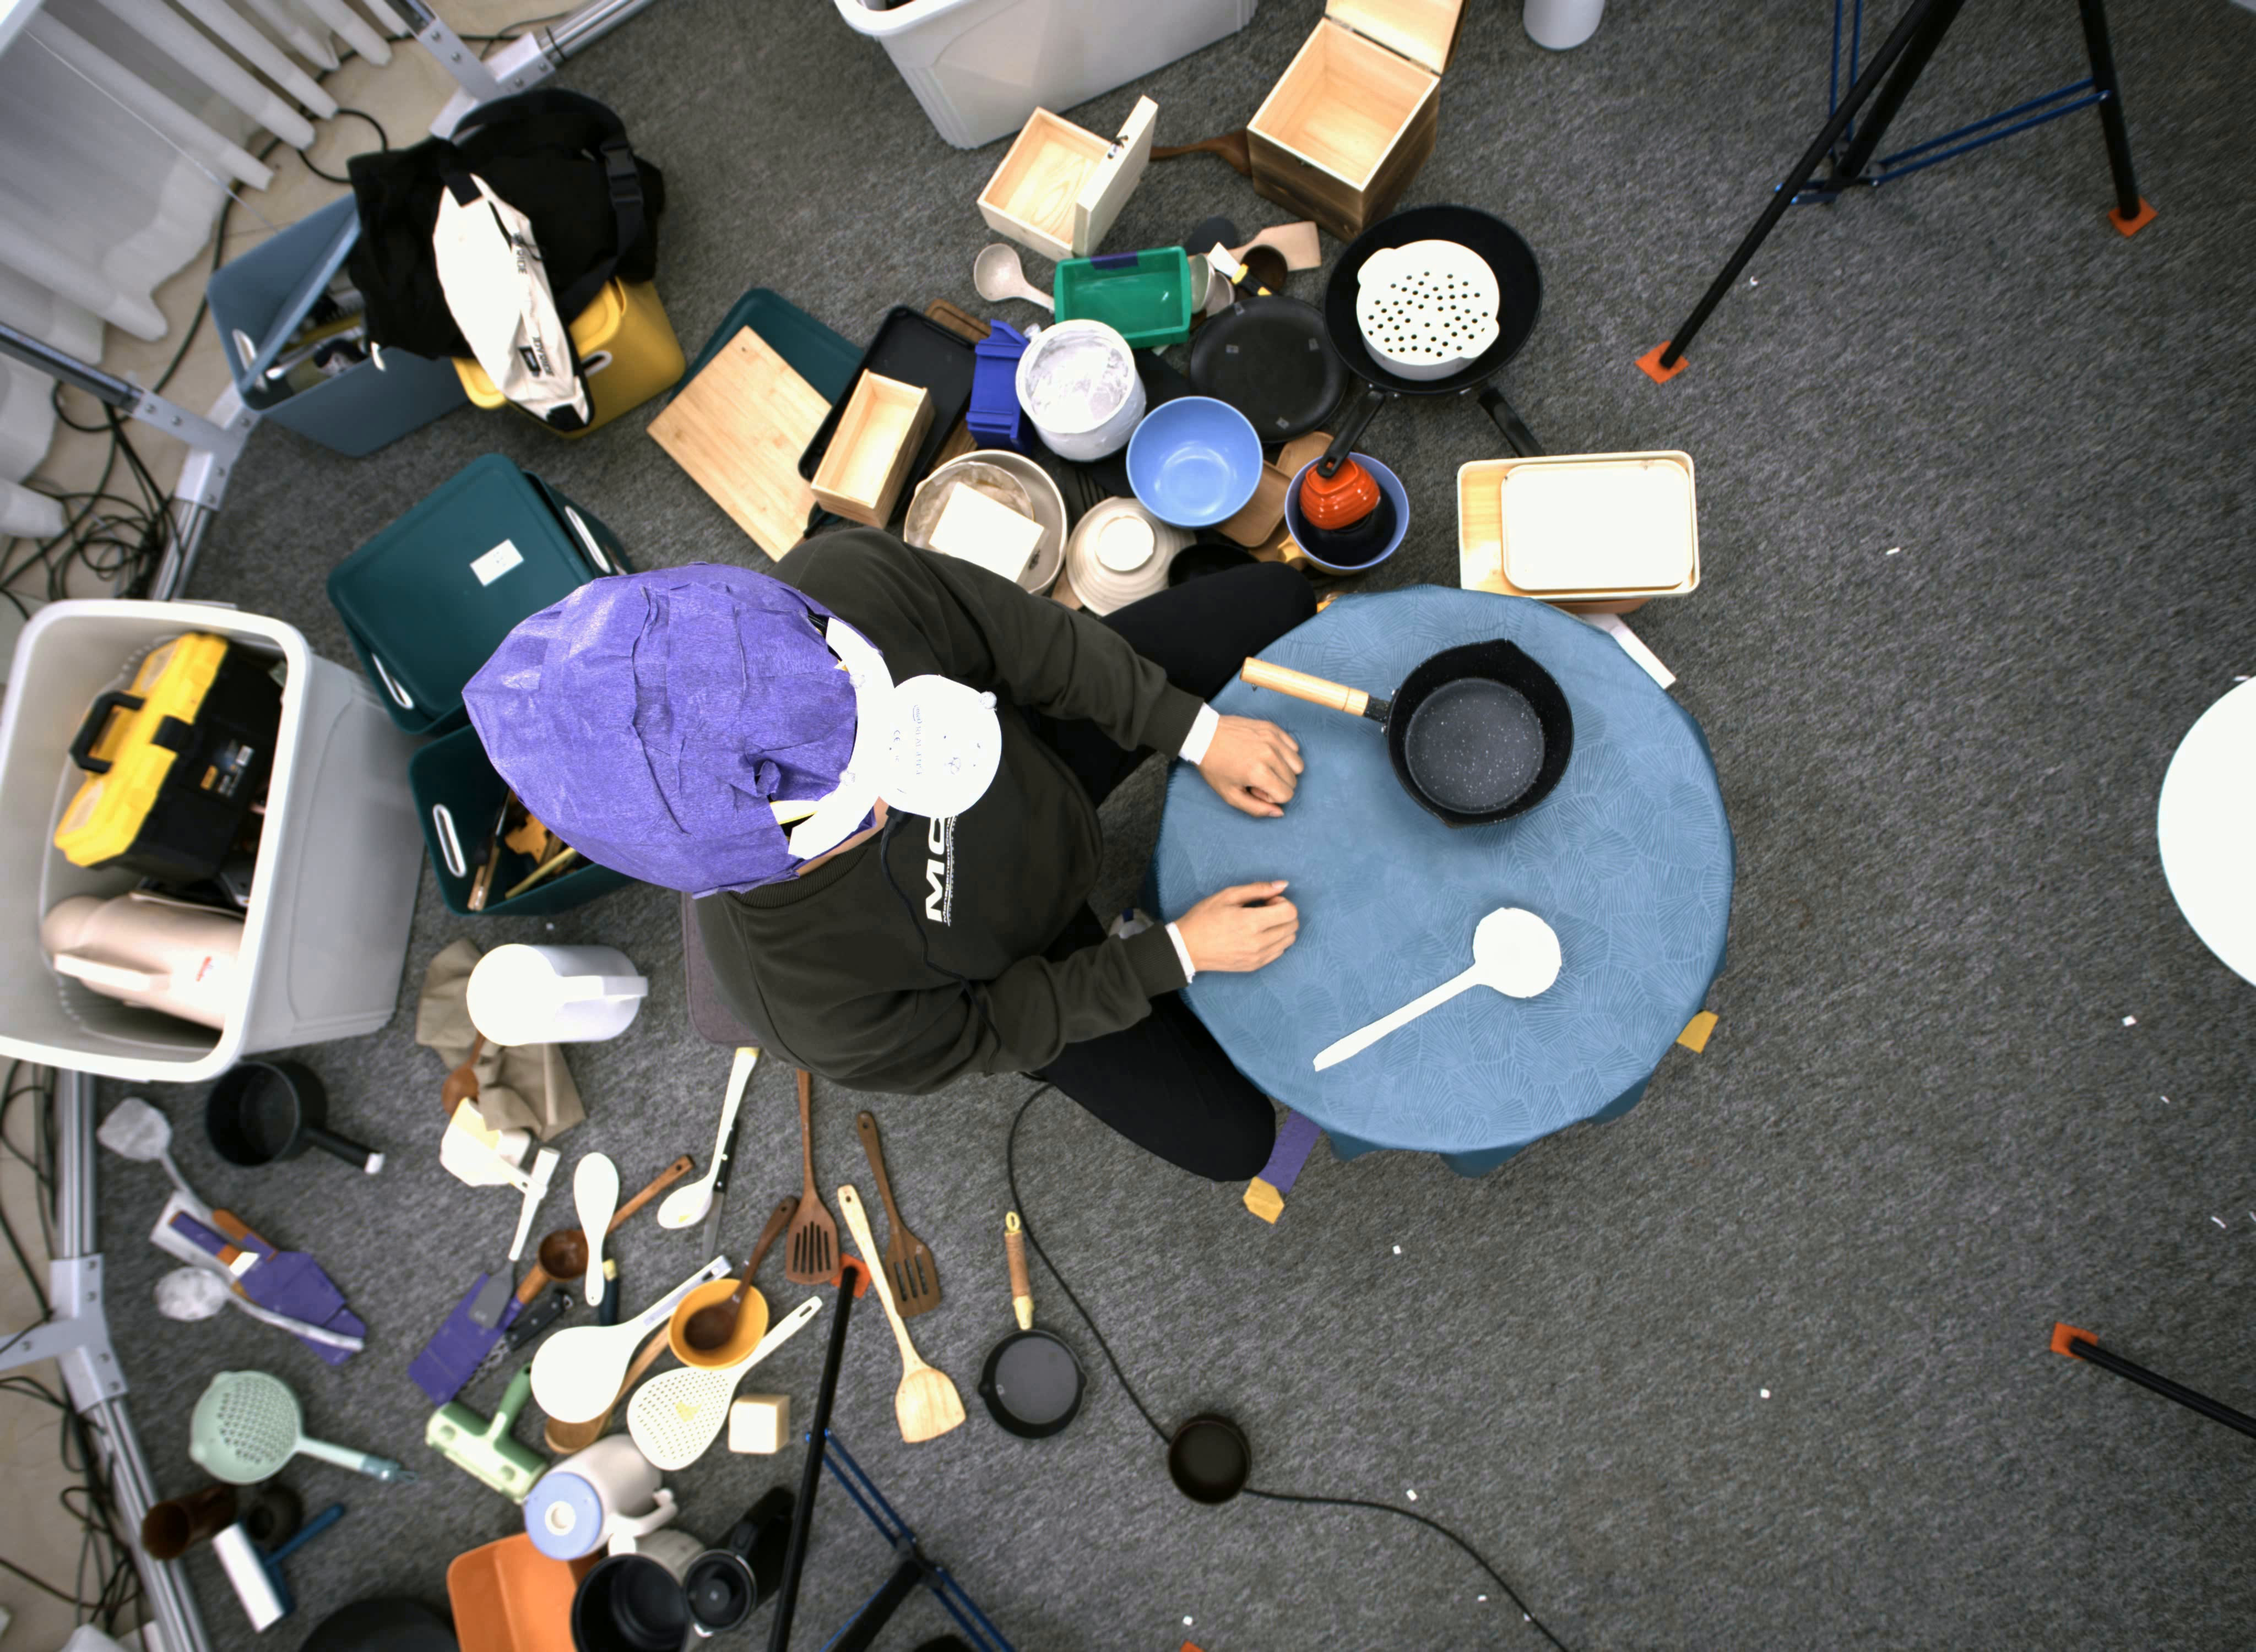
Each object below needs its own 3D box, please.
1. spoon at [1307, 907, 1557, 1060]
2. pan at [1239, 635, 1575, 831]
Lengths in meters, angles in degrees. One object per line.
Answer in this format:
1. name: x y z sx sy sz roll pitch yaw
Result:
1. spoon: 0.305 0.170 1.419 0.279 0.059 0.100 -28 78 8
2. pan: 0.281 -0.112 1.414 0.343 0.108 0.207 15 90 10
